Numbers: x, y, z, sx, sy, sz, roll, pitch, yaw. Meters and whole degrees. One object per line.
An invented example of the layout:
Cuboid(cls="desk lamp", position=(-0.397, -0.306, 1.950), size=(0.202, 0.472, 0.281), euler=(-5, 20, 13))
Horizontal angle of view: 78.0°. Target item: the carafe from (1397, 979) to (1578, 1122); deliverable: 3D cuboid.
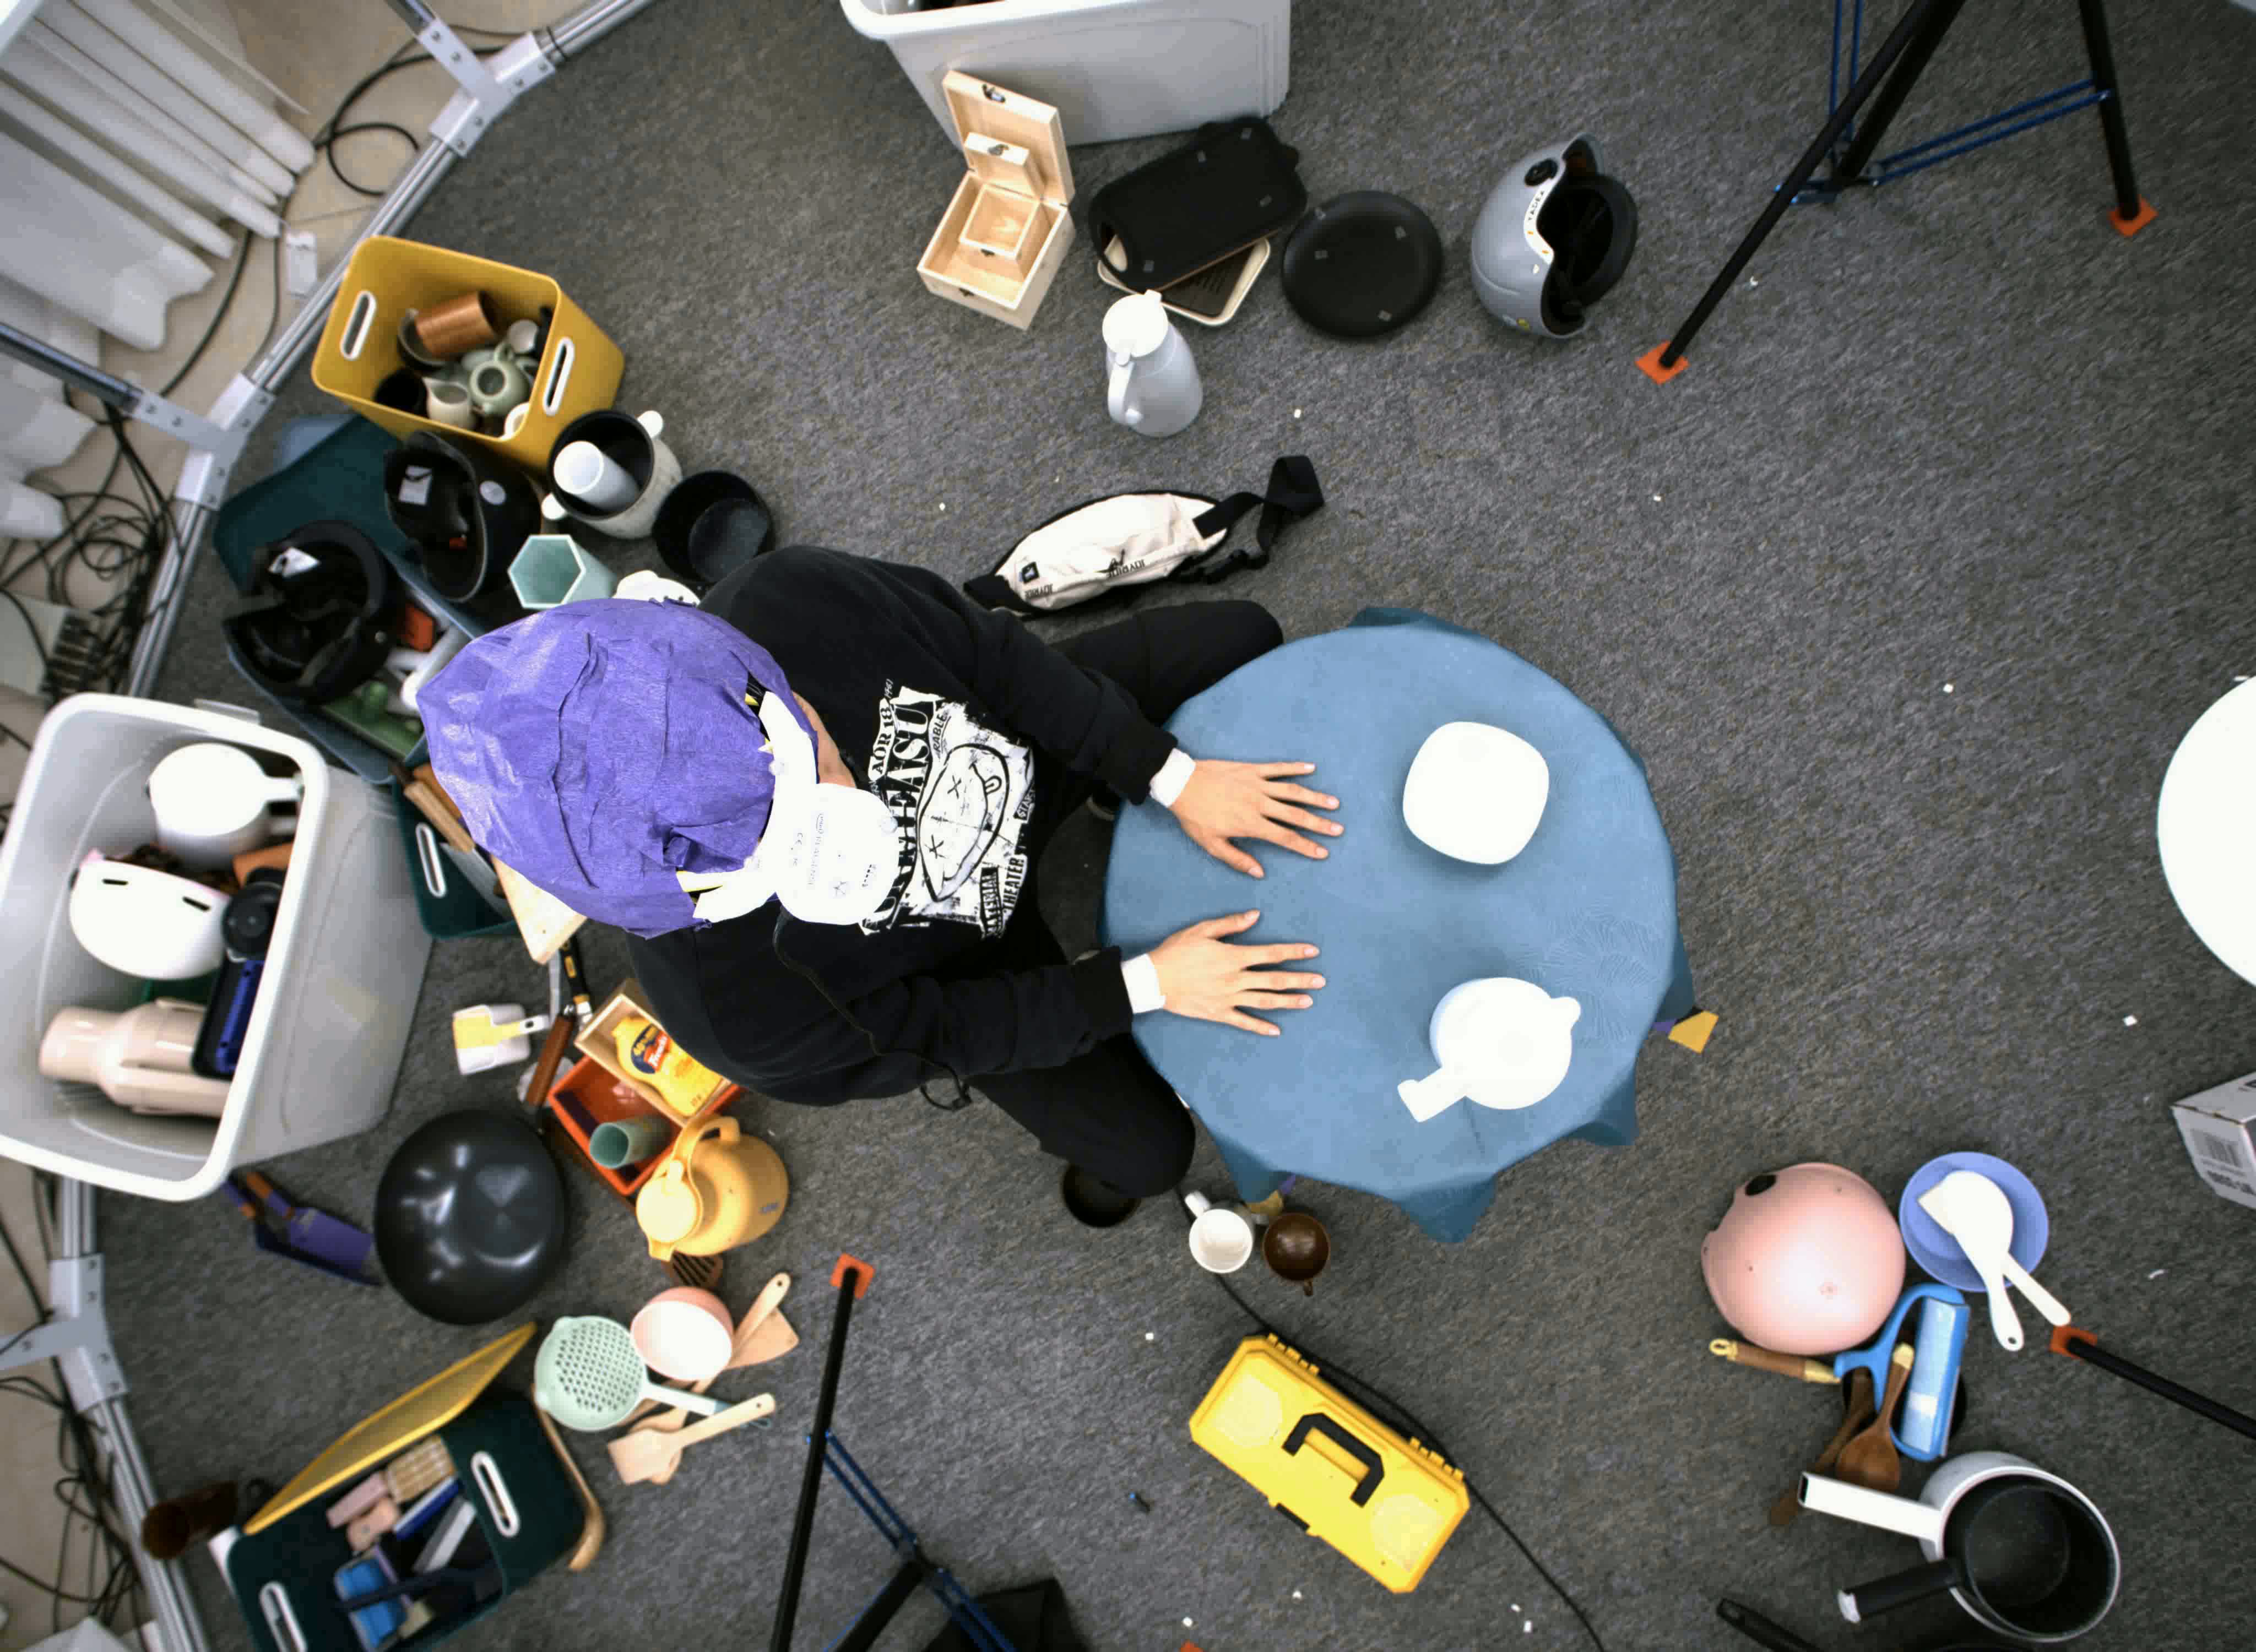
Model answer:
Cuboid(cls="carafe", position=(0.335, 0.212, 1.307), size=(0.174, 0.269, 0.123), euler=(-35, 82, 6))

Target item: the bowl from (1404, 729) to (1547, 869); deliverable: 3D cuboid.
Cuboid(cls="bowl", position=(0.362, -0.027, 1.428), size=(0.152, 0.058, 0.151), euler=(-2, 86, 18))
